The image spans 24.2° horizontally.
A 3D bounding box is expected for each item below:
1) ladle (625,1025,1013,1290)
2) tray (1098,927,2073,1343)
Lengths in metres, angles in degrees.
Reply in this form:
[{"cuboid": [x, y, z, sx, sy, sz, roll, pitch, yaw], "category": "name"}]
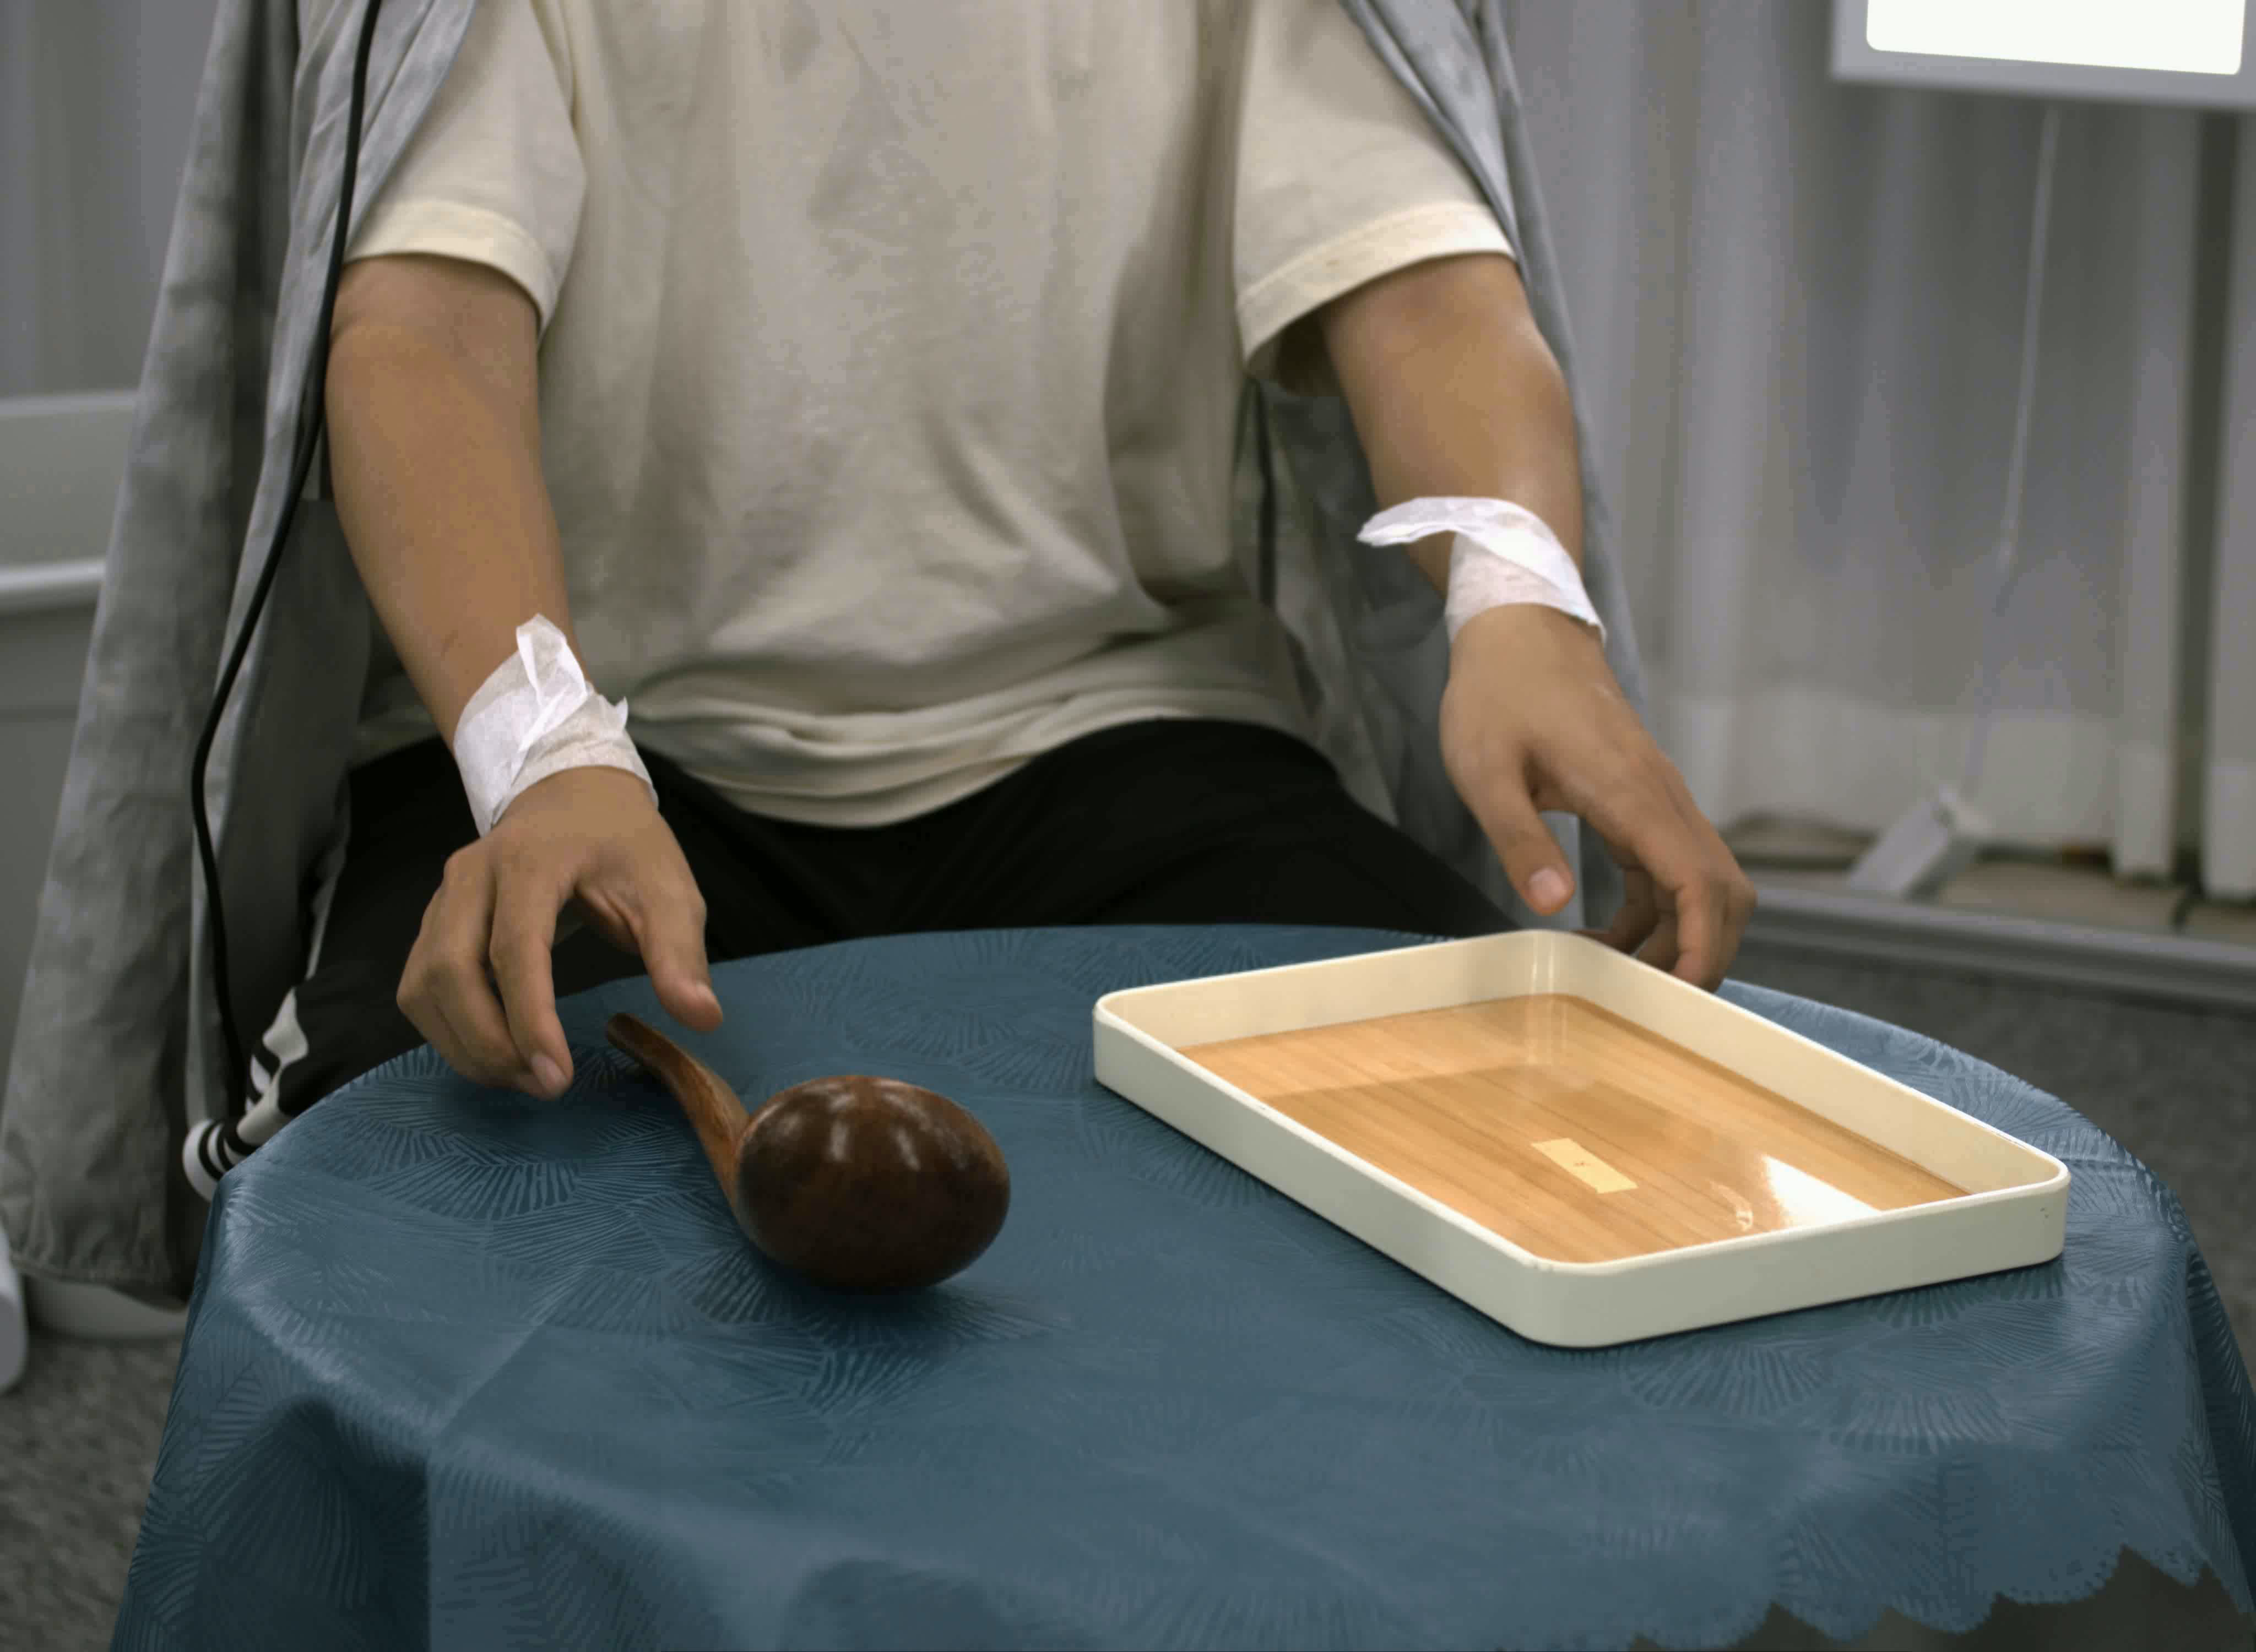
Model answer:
[{"cuboid": [-0.104, 0.078, 1.613, 0.082, 0.076, 0.271, 39, 1, -21], "category": "ladle"}, {"cuboid": [0.136, 0.092, 1.653, 0.192, 0.027, 0.296, -8, 17, -27], "category": "tray"}]
